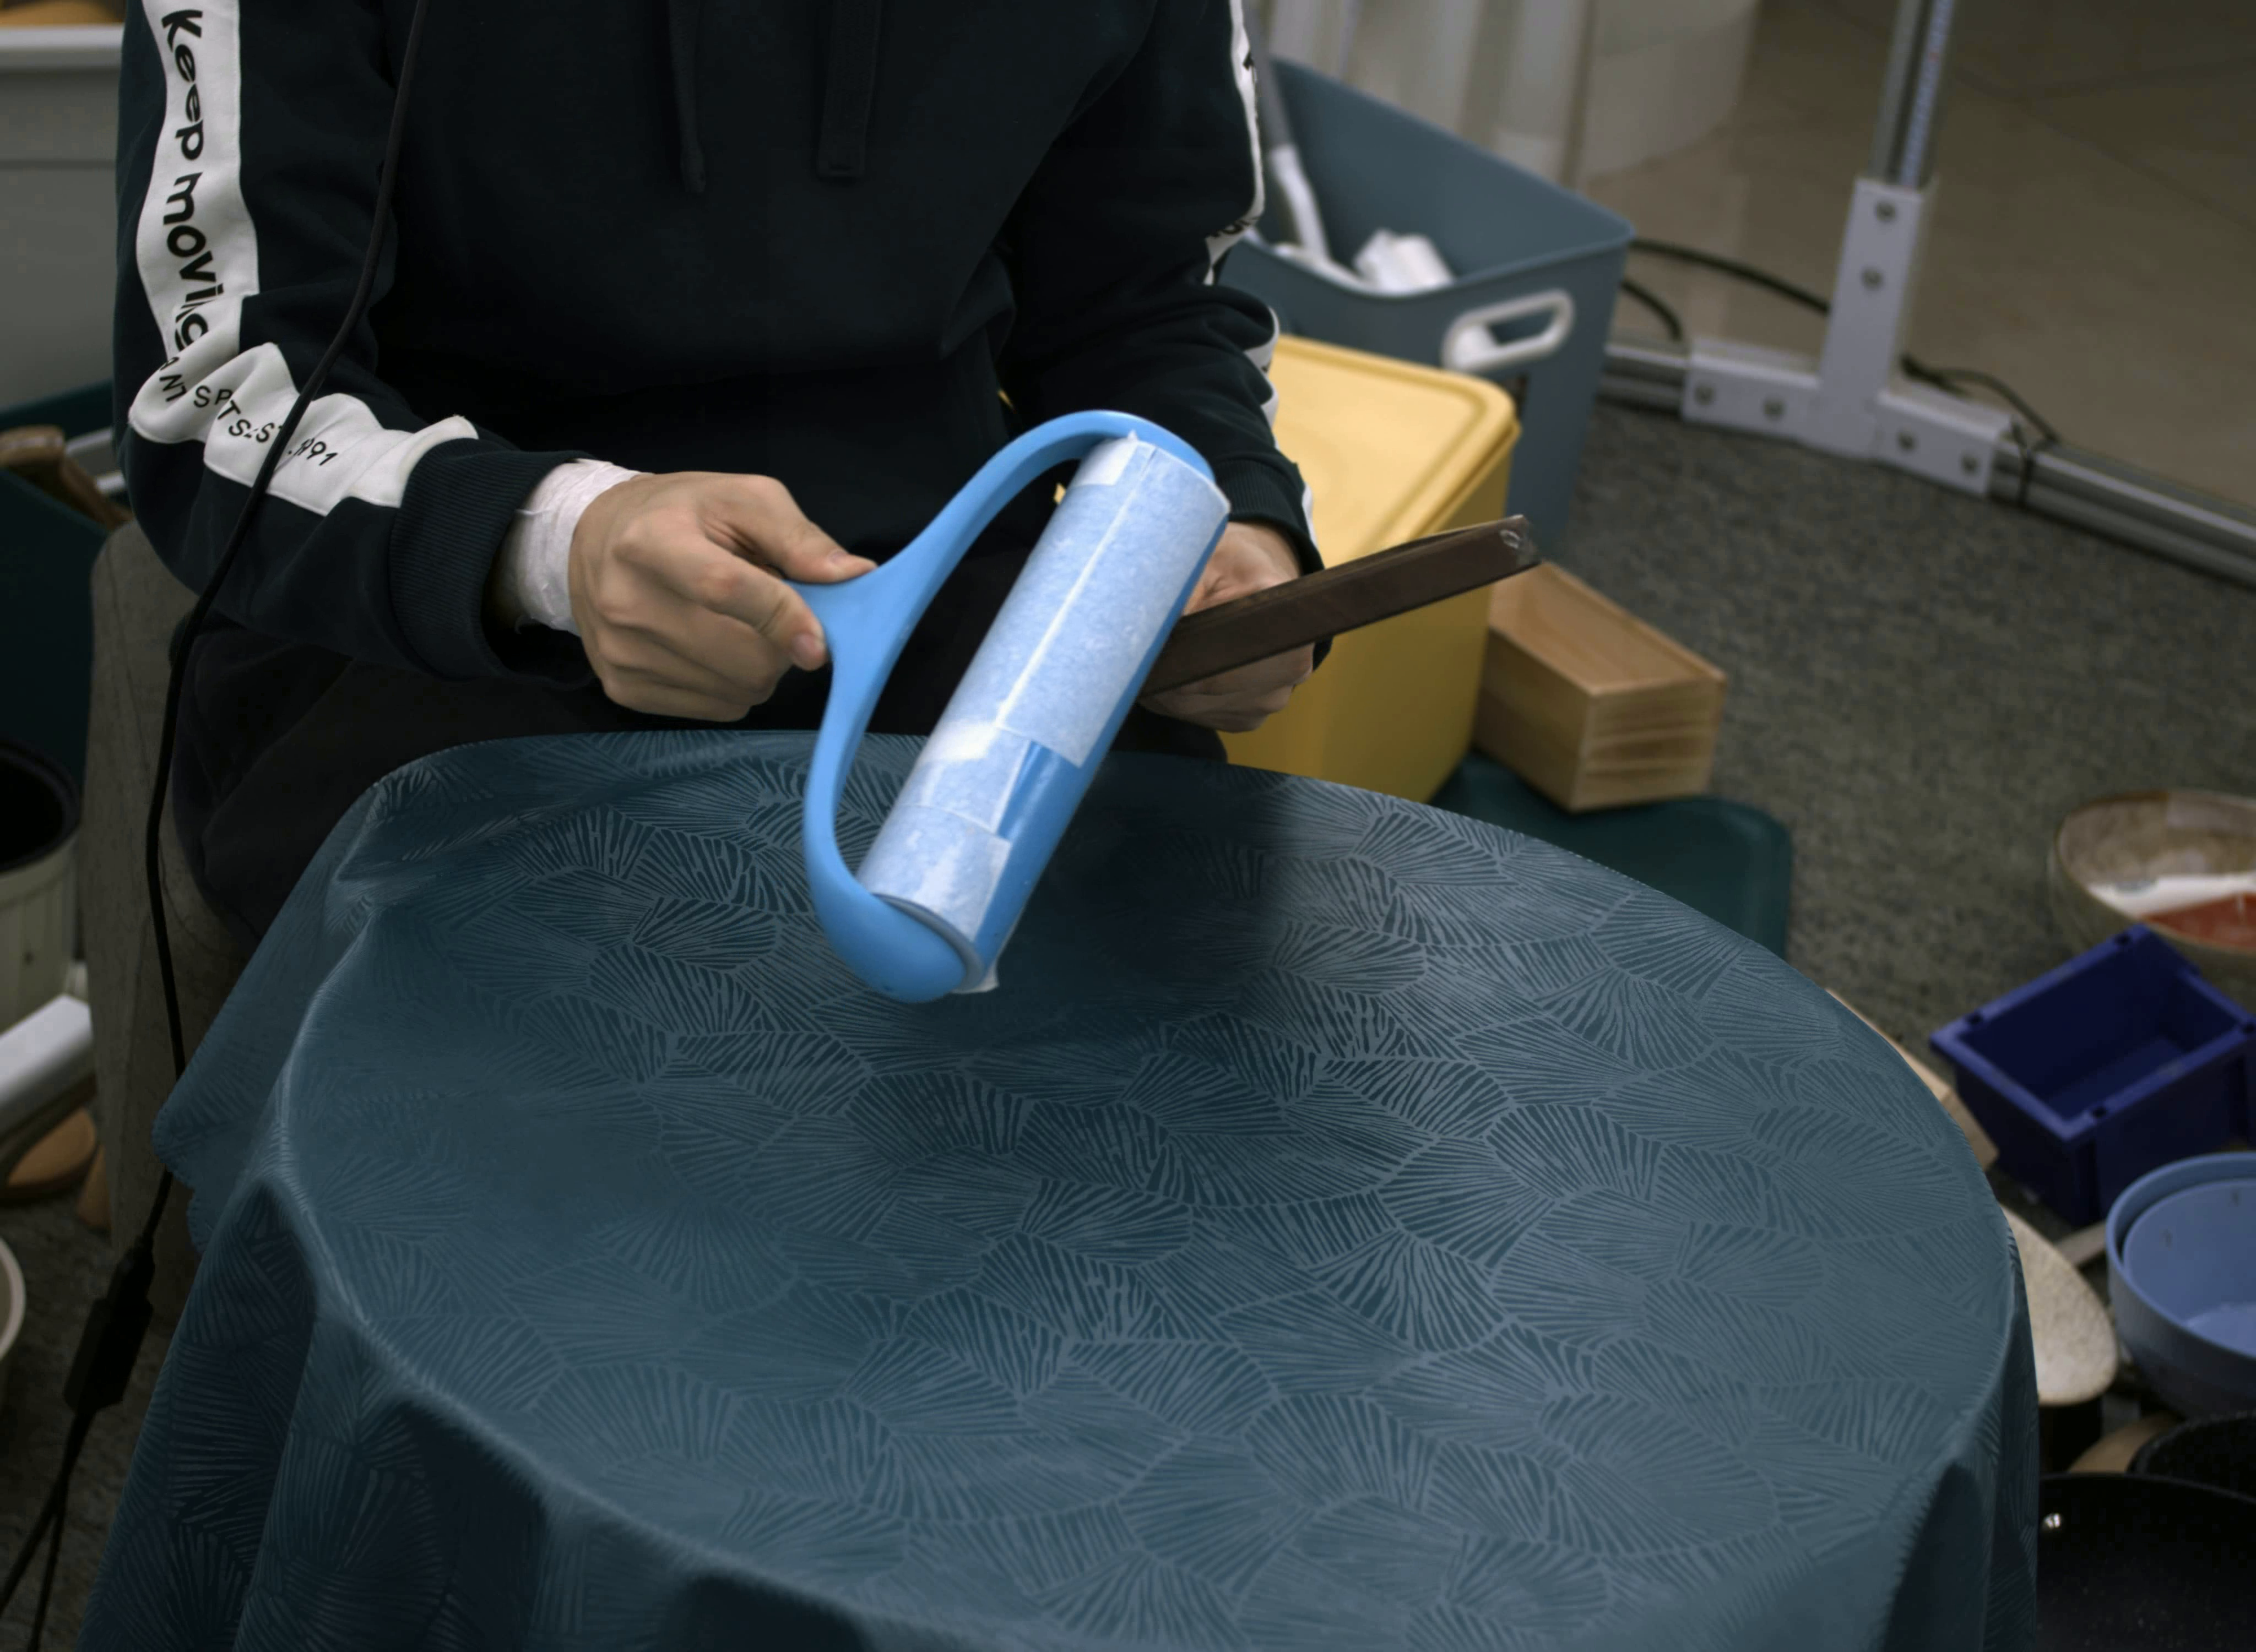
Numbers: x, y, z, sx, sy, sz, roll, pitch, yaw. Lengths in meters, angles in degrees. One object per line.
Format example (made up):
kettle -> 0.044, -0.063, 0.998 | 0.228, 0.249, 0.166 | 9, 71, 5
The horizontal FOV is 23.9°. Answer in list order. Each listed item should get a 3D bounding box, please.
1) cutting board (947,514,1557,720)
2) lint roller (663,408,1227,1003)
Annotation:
cutting board -> 0.034, -0.070, 1.977 | 0.200, 0.023, 0.352 | -18, 2, -5
lint roller -> -0.084, -0.053, 1.780 | 0.181, 0.067, 0.230 | 14, 61, 21
